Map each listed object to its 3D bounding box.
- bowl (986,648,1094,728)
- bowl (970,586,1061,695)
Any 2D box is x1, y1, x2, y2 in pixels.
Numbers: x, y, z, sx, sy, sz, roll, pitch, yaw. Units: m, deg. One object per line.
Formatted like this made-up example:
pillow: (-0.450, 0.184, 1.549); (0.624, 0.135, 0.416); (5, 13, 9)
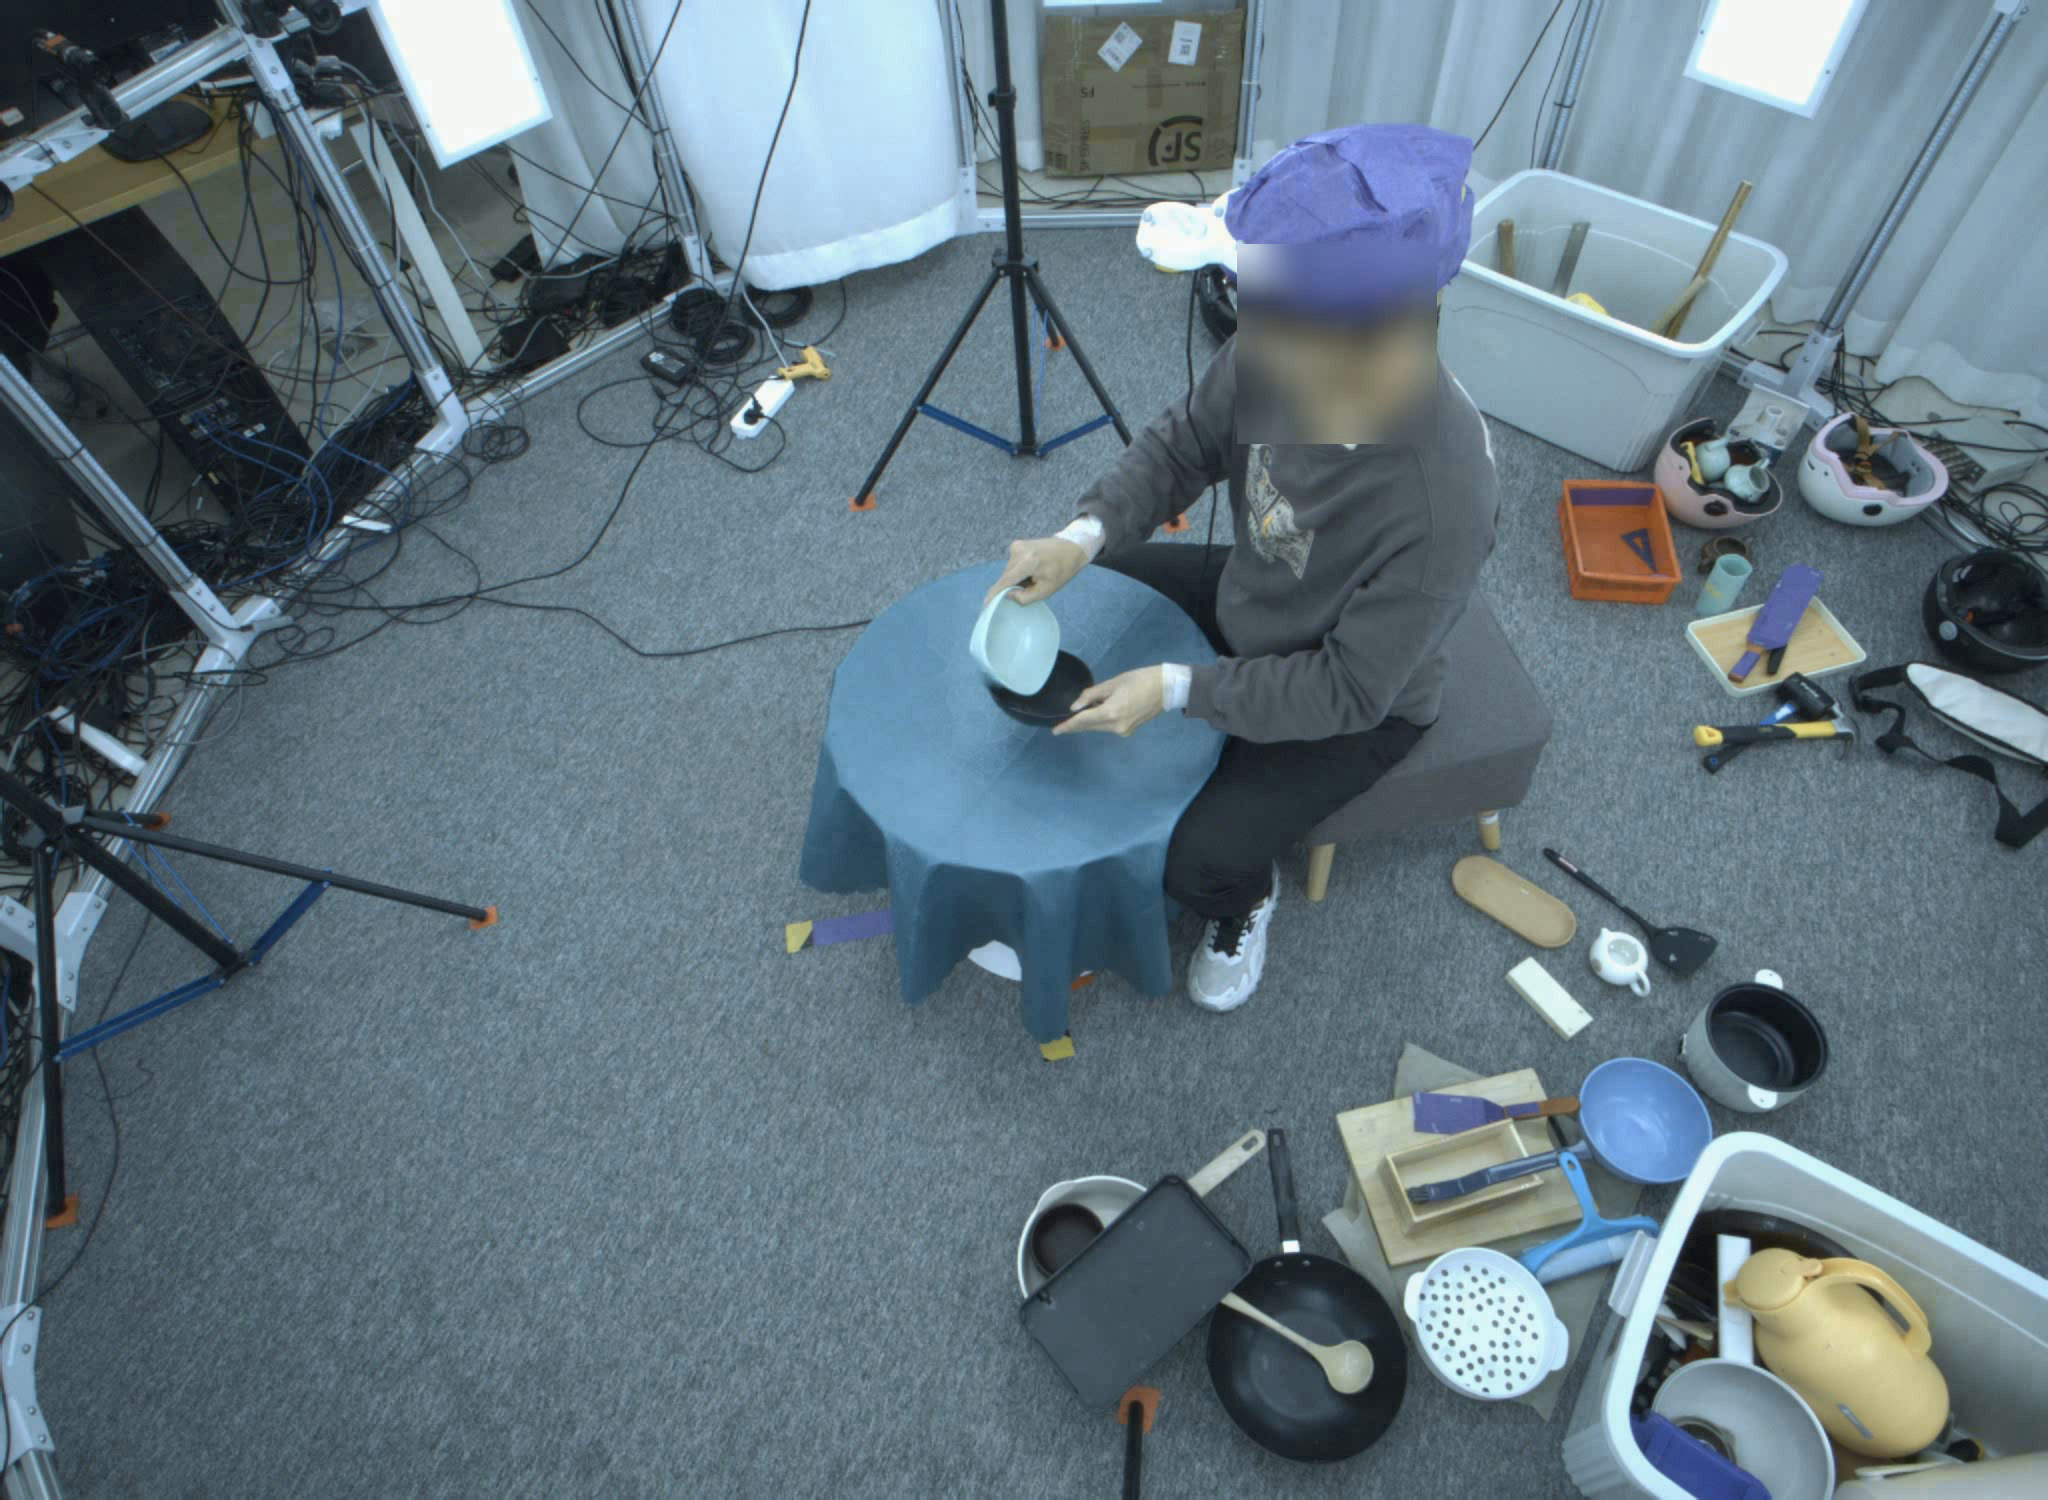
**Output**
bowl: (0.022, -0.078, 1.731); (0.167, 0.067, 0.138); (32, 56, 30)
bowl: (-0.021, -0.151, 1.701); (0.057, 0.154, 0.152); (4, 48, 45)
